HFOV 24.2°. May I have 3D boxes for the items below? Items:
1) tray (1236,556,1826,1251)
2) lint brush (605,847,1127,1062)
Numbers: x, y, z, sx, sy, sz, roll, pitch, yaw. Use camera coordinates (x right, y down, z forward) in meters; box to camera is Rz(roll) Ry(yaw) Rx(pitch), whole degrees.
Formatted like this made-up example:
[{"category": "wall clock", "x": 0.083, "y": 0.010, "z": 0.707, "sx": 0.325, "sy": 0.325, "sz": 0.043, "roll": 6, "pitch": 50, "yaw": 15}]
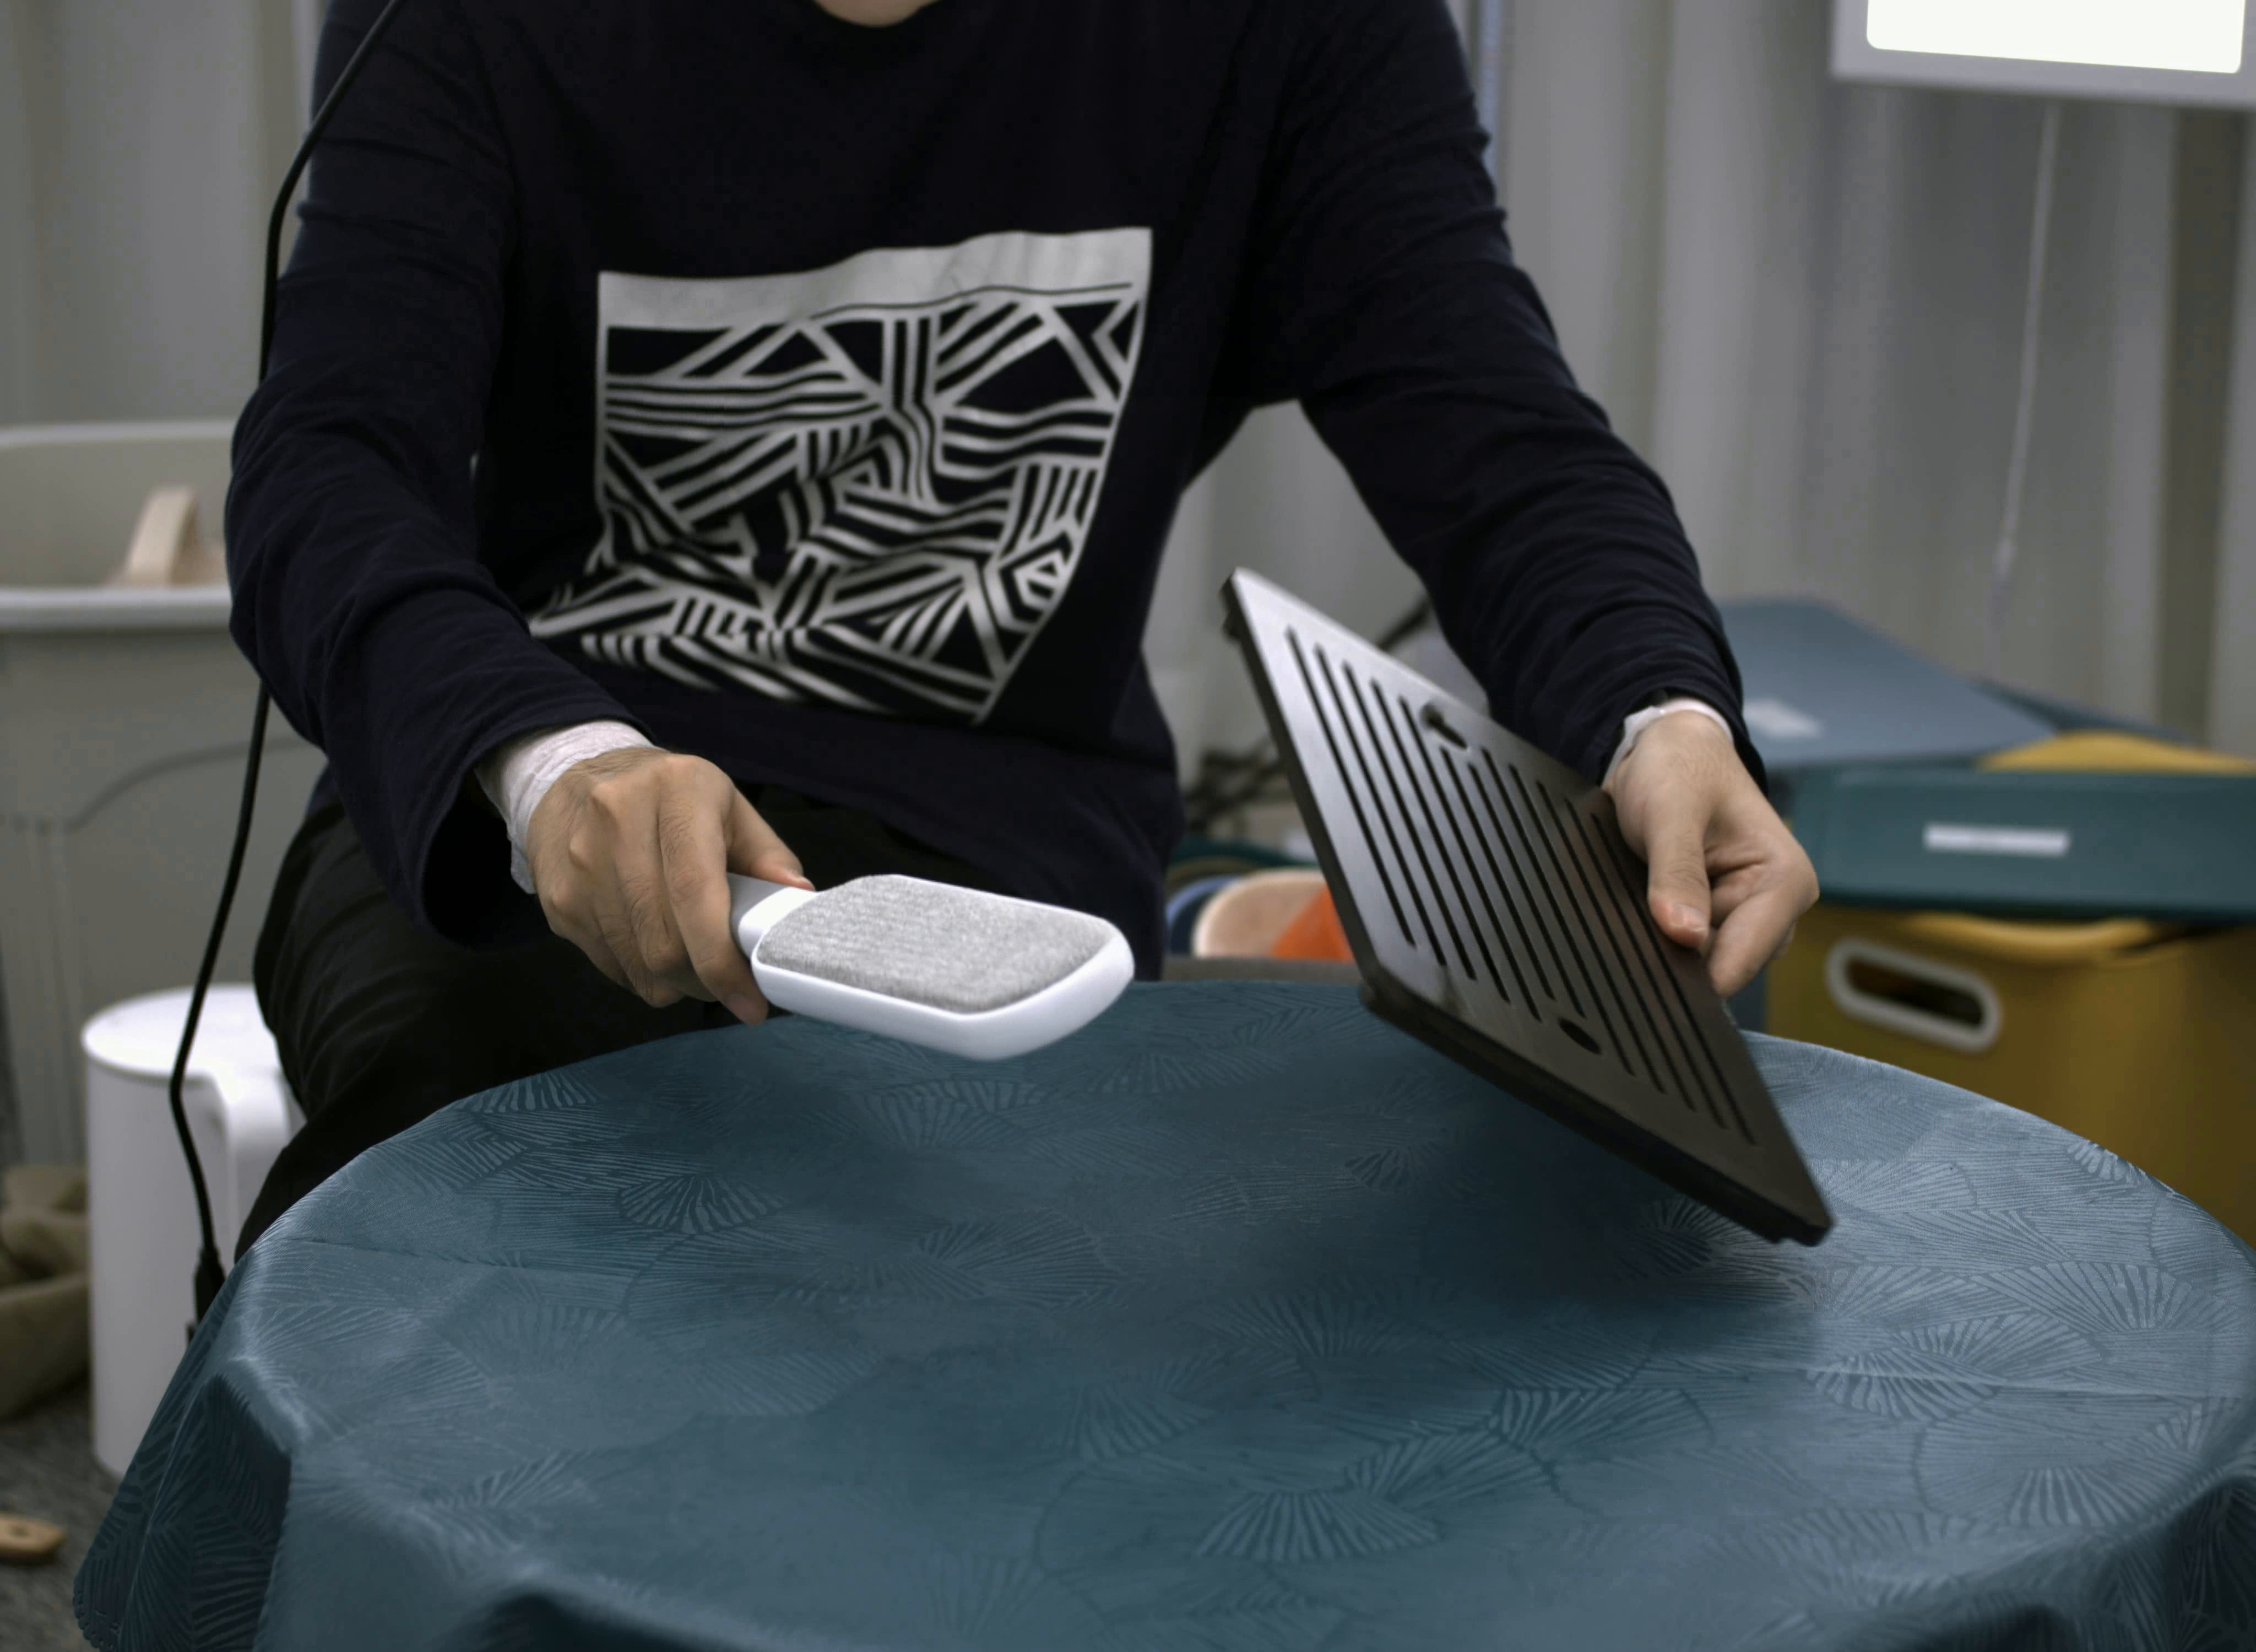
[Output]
[{"category": "tray", "x": 0.117, "y": 0.021, "z": 1.642, "sx": 0.171, "sy": 0.018, "sz": 0.303, "roll": 33, "pitch": 18, "yaw": -21}, {"category": "lint brush", "x": -0.086, "y": 0.032, "z": 1.570, "sx": 0.060, "sy": 0.021, "sz": 0.305, "roll": -38, "pitch": 22, "yaw": -21}]
